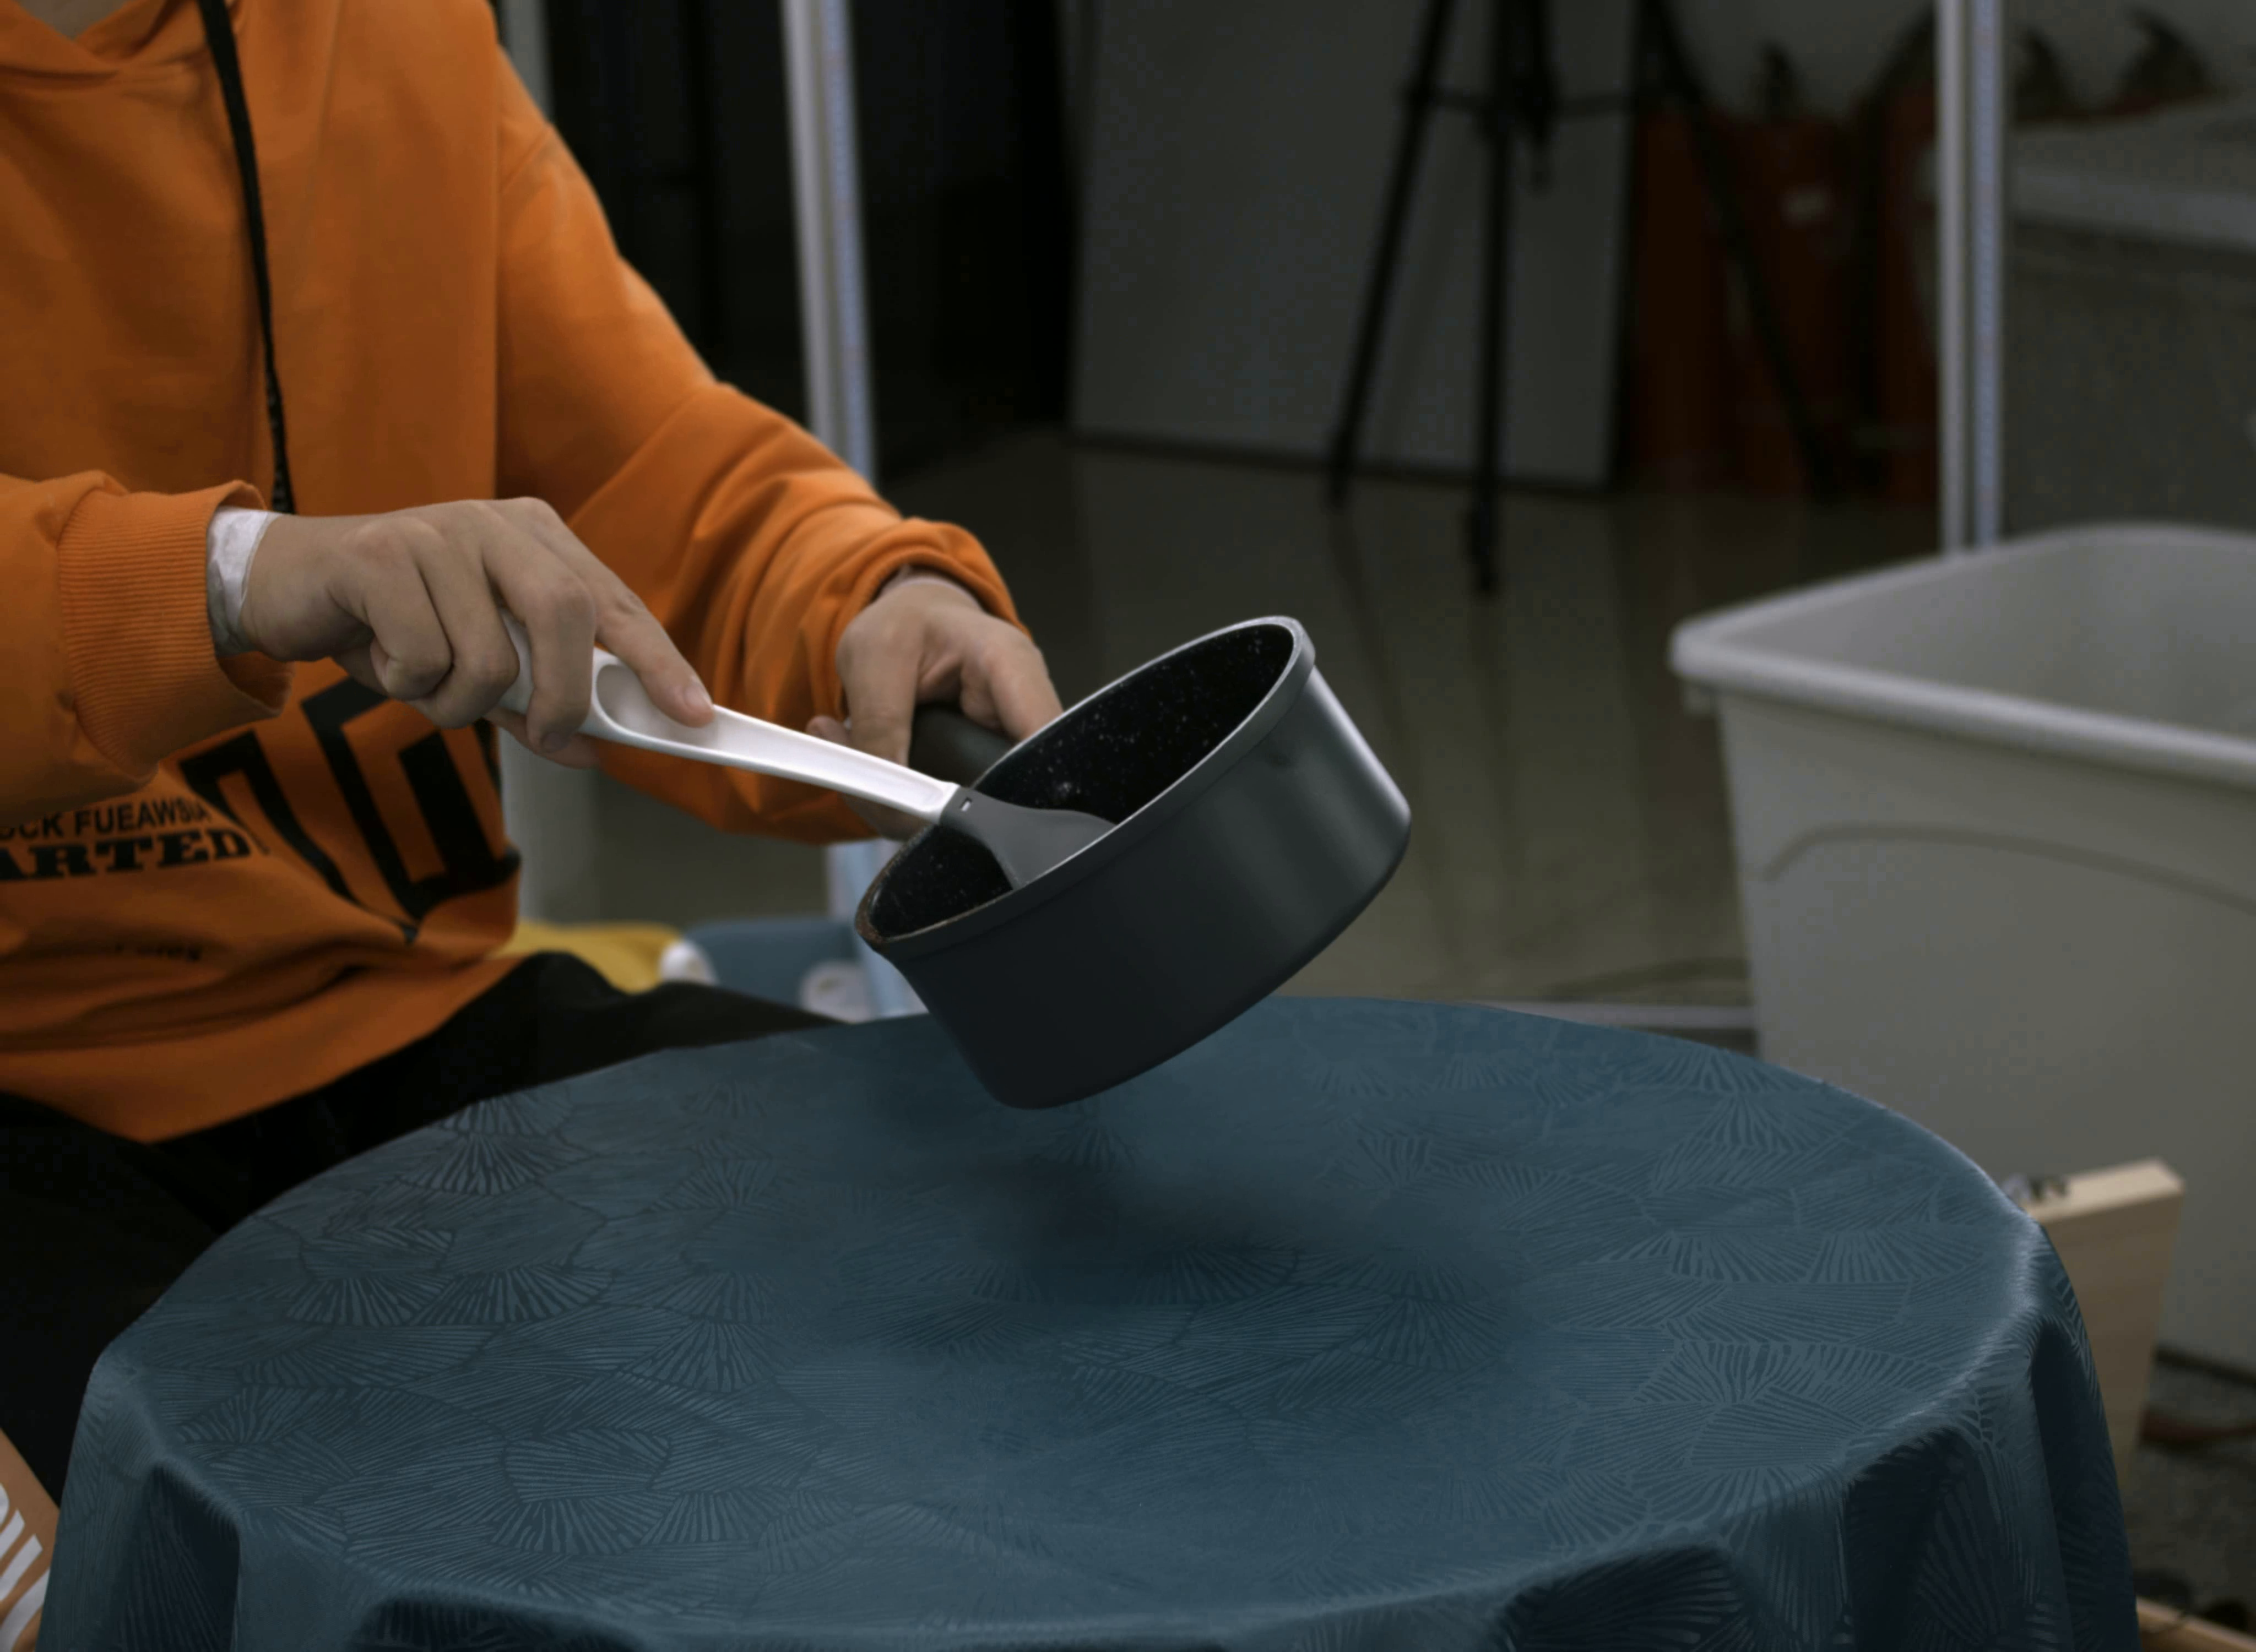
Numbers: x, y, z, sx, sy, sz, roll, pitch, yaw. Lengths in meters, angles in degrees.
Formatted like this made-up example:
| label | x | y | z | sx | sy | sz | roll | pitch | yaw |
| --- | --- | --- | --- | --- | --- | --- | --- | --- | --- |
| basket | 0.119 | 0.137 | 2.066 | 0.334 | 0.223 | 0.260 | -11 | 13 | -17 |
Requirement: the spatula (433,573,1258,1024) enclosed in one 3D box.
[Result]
| label | x | y | z | sx | sy | sz | roll | pitch | yaw |
| --- | --- | --- | --- | --- | --- | --- | --- | --- | --- |
| spatula | -0.087 | -0.013 | 1.691 | 0.287 | 0.032 | 0.058 | 22 | 44 | 15 |

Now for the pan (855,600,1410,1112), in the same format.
| label | x | y | z | sx | sy | sz | roll | pitch | yaw |
| --- | --- | --- | --- | --- | --- | --- | --- | --- | --- |
| pan | -0.019 | 0.002 | 1.774 | 0.171 | 0.086 | 0.331 | -37 | 15 | -9 |
